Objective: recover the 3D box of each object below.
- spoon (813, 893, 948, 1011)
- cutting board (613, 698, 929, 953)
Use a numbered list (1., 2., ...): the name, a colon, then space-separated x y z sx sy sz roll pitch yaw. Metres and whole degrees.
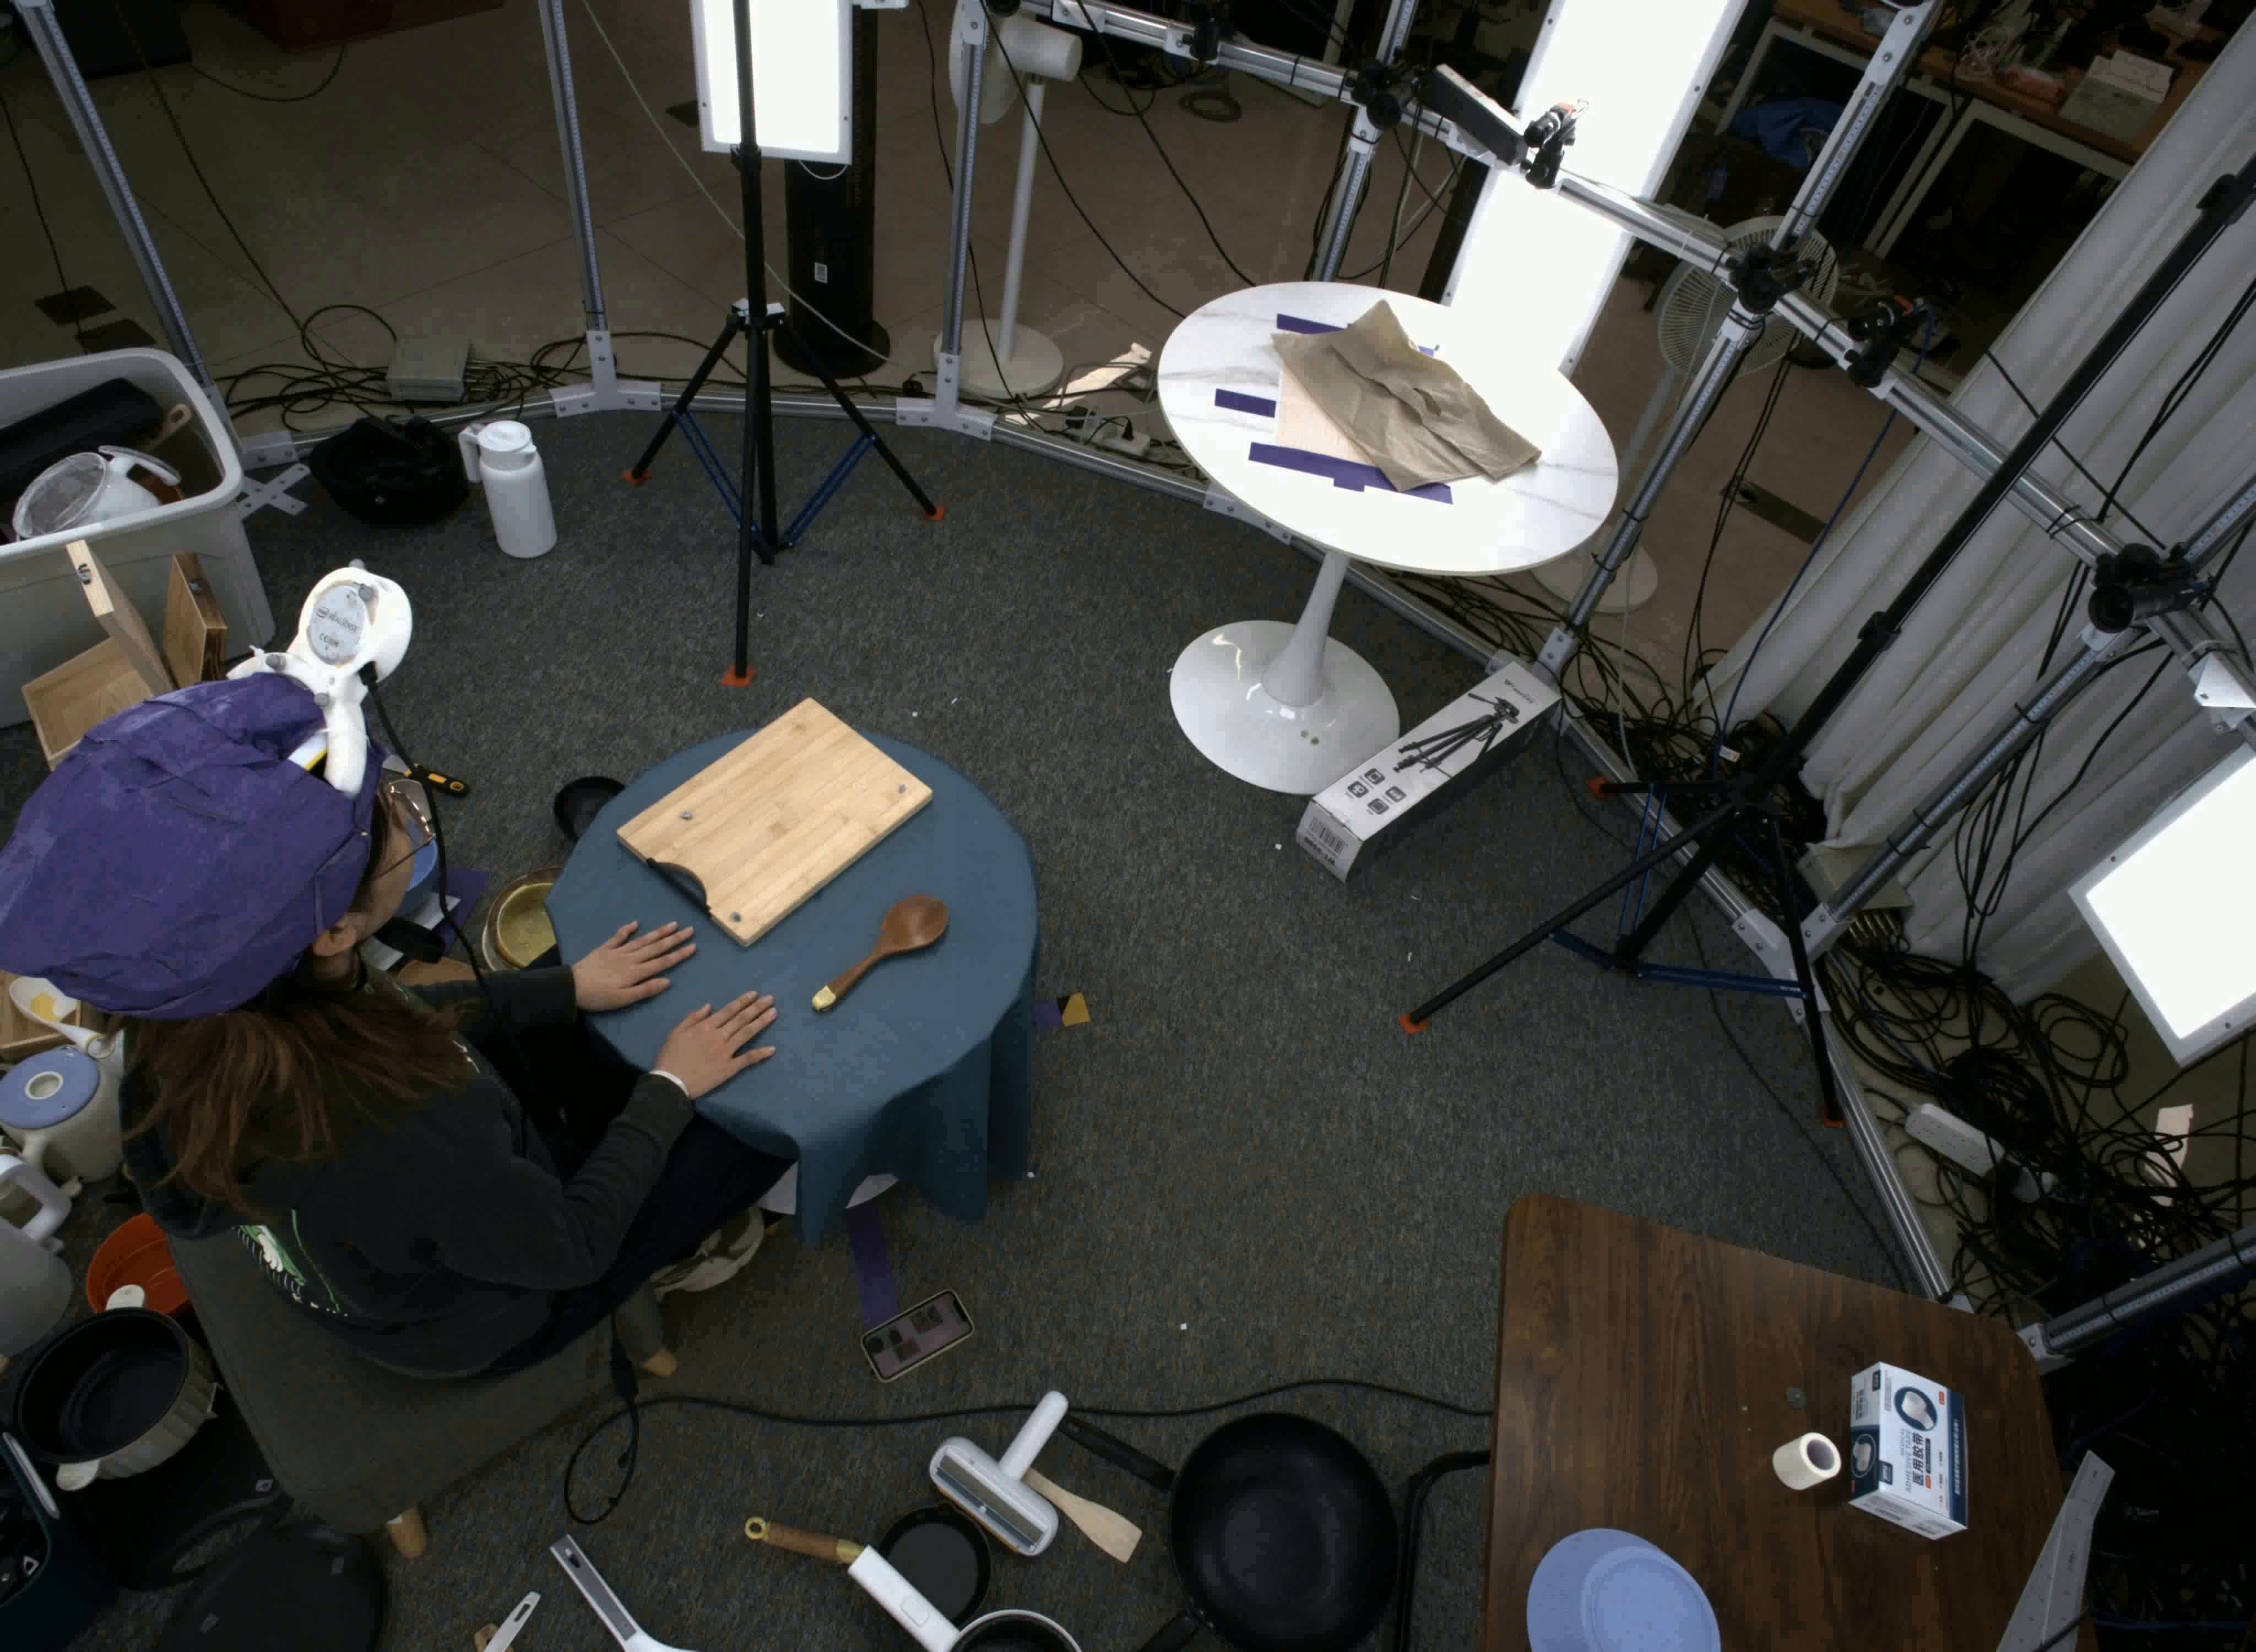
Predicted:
1. spoon: -0.311 0.157 1.630 0.074 0.017 0.216 38 54 13
2. cutting board: -0.467 -0.012 1.717 0.246 0.024 0.348 36 54 13
